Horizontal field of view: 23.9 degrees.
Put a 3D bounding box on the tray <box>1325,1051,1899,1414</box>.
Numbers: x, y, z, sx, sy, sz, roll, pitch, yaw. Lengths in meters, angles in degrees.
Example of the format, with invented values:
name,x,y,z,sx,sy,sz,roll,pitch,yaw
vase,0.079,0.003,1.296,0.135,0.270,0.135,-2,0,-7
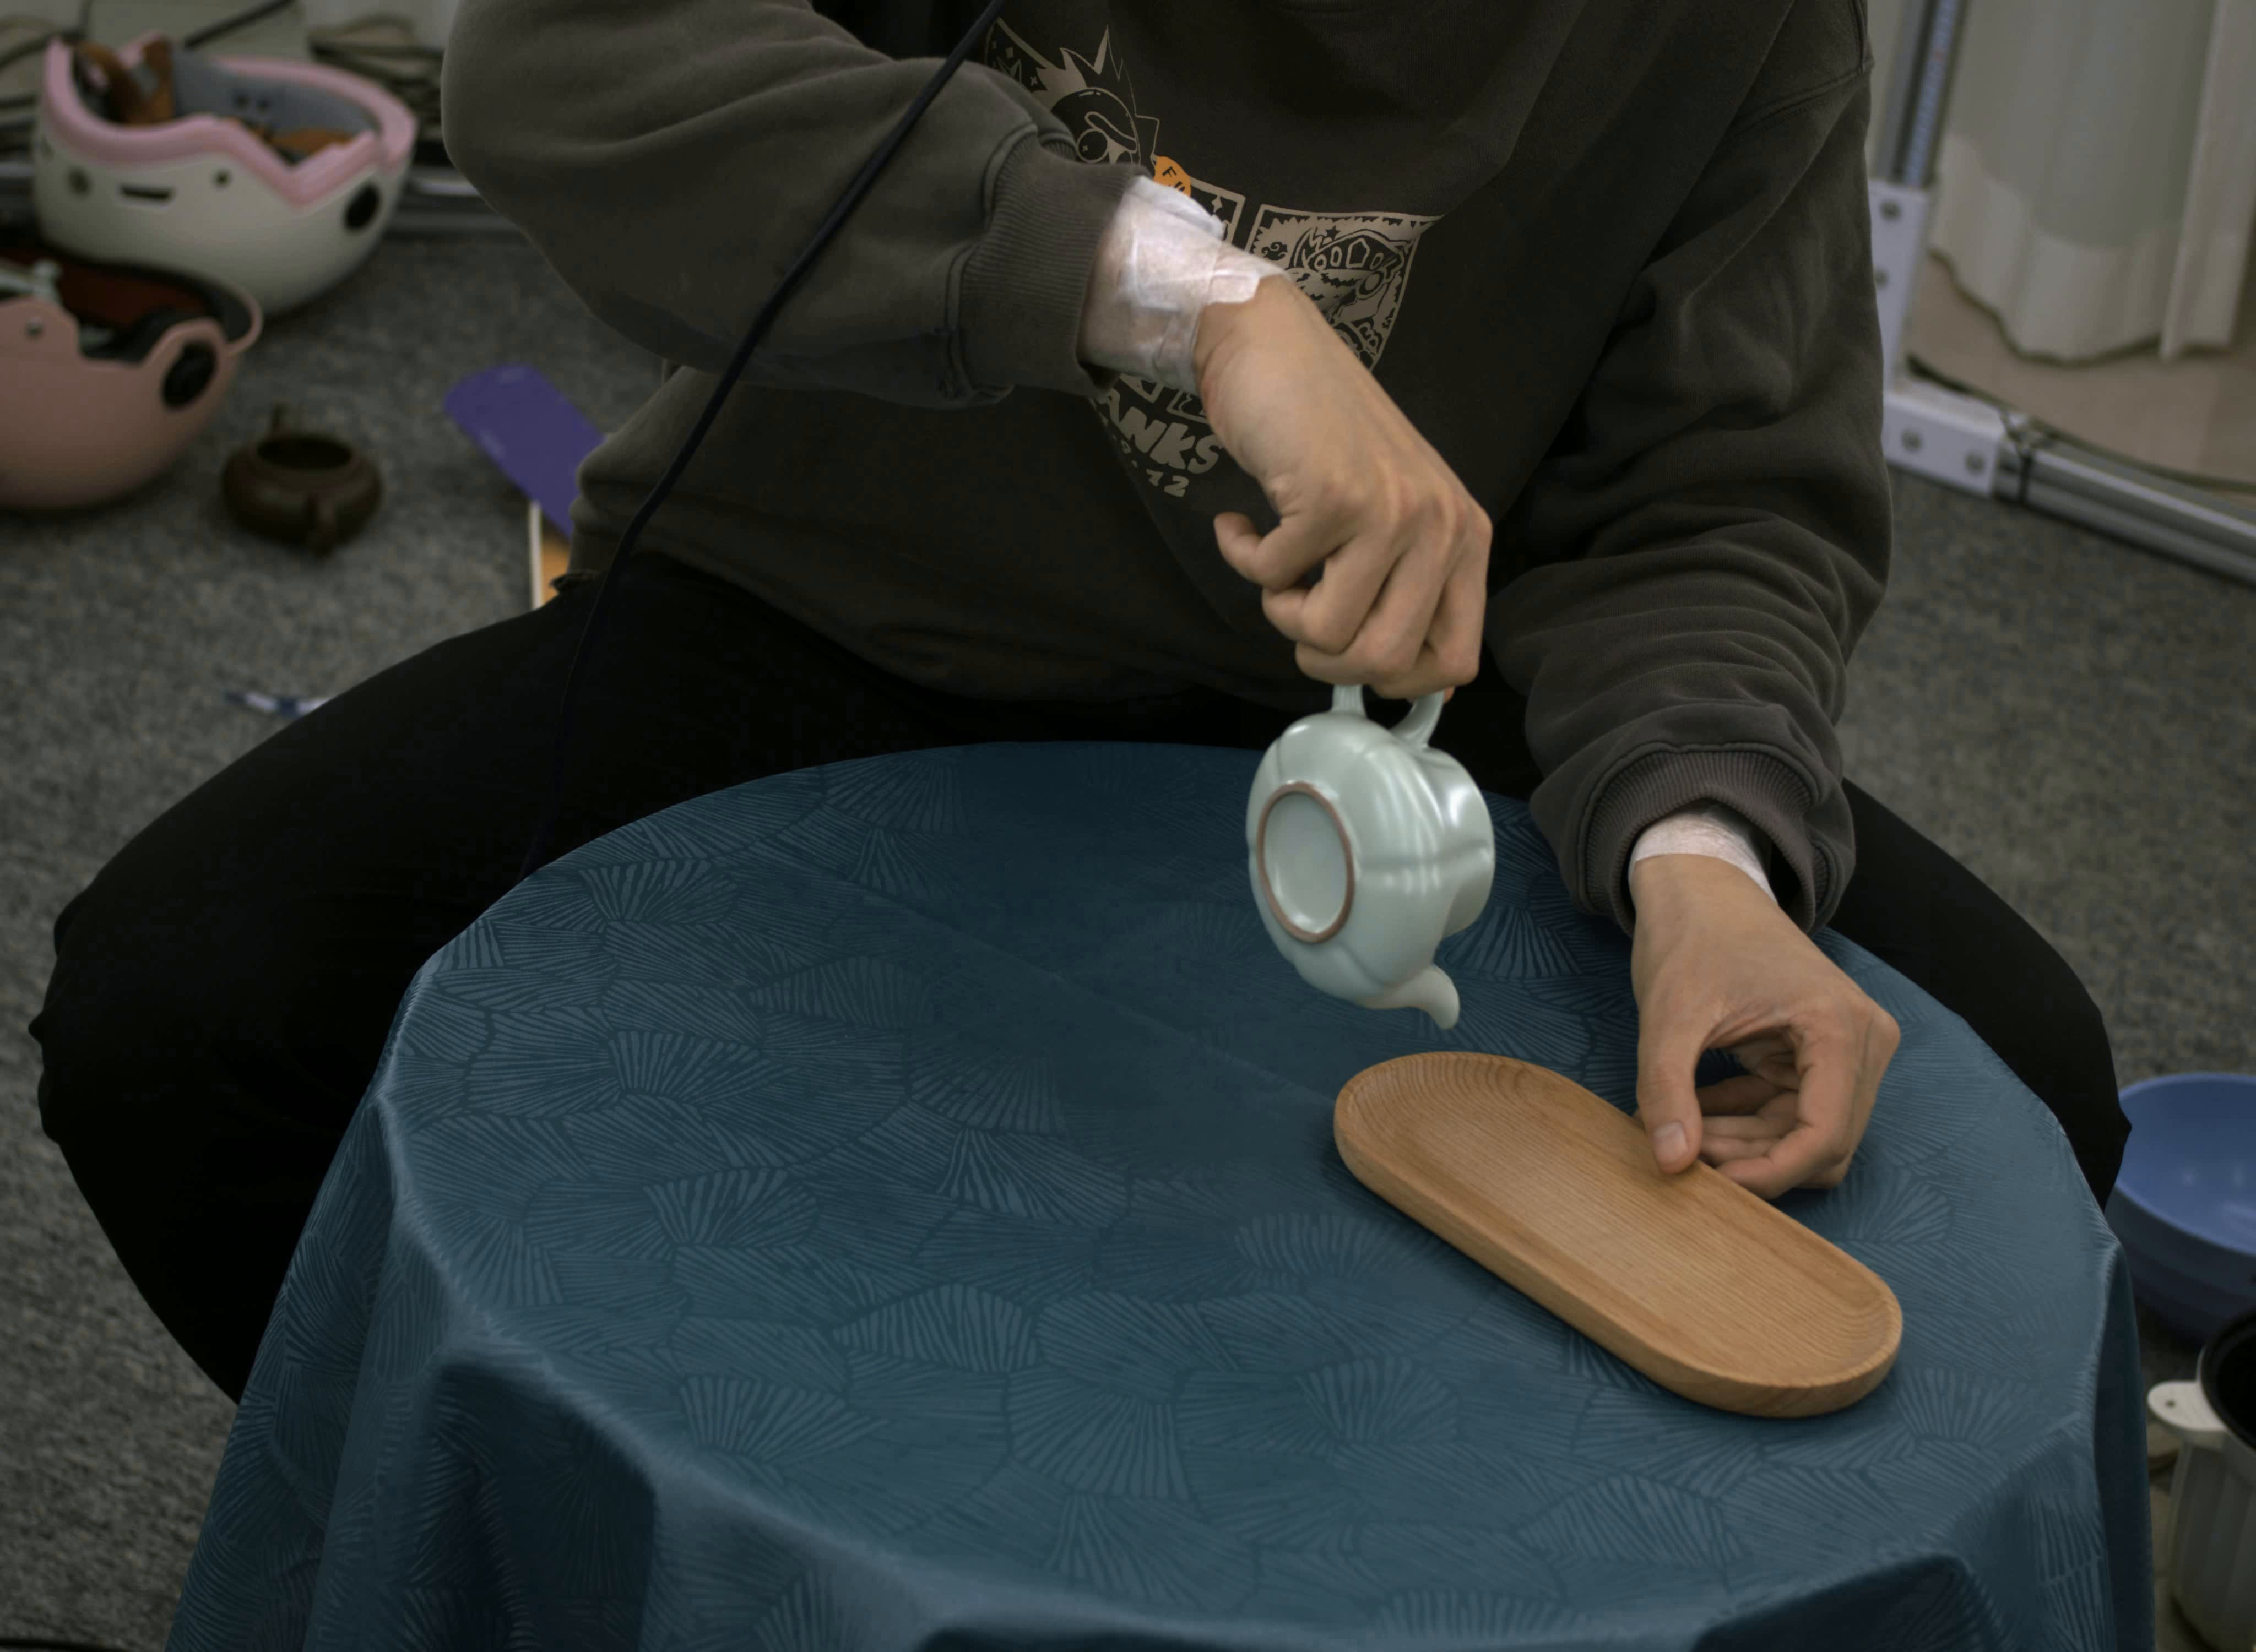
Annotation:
name,x,y,z,sx,sy,sz,roll,pitch,yaw
tray,0.161,0.135,1.798,0.101,0.020,0.233,-16,33,-38

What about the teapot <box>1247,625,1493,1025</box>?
name,x,y,z,sx,sy,sz,roll,pitch,yaw
teapot,0.081,0.002,1.757,0.061,0.137,0.097,-7,11,-32
